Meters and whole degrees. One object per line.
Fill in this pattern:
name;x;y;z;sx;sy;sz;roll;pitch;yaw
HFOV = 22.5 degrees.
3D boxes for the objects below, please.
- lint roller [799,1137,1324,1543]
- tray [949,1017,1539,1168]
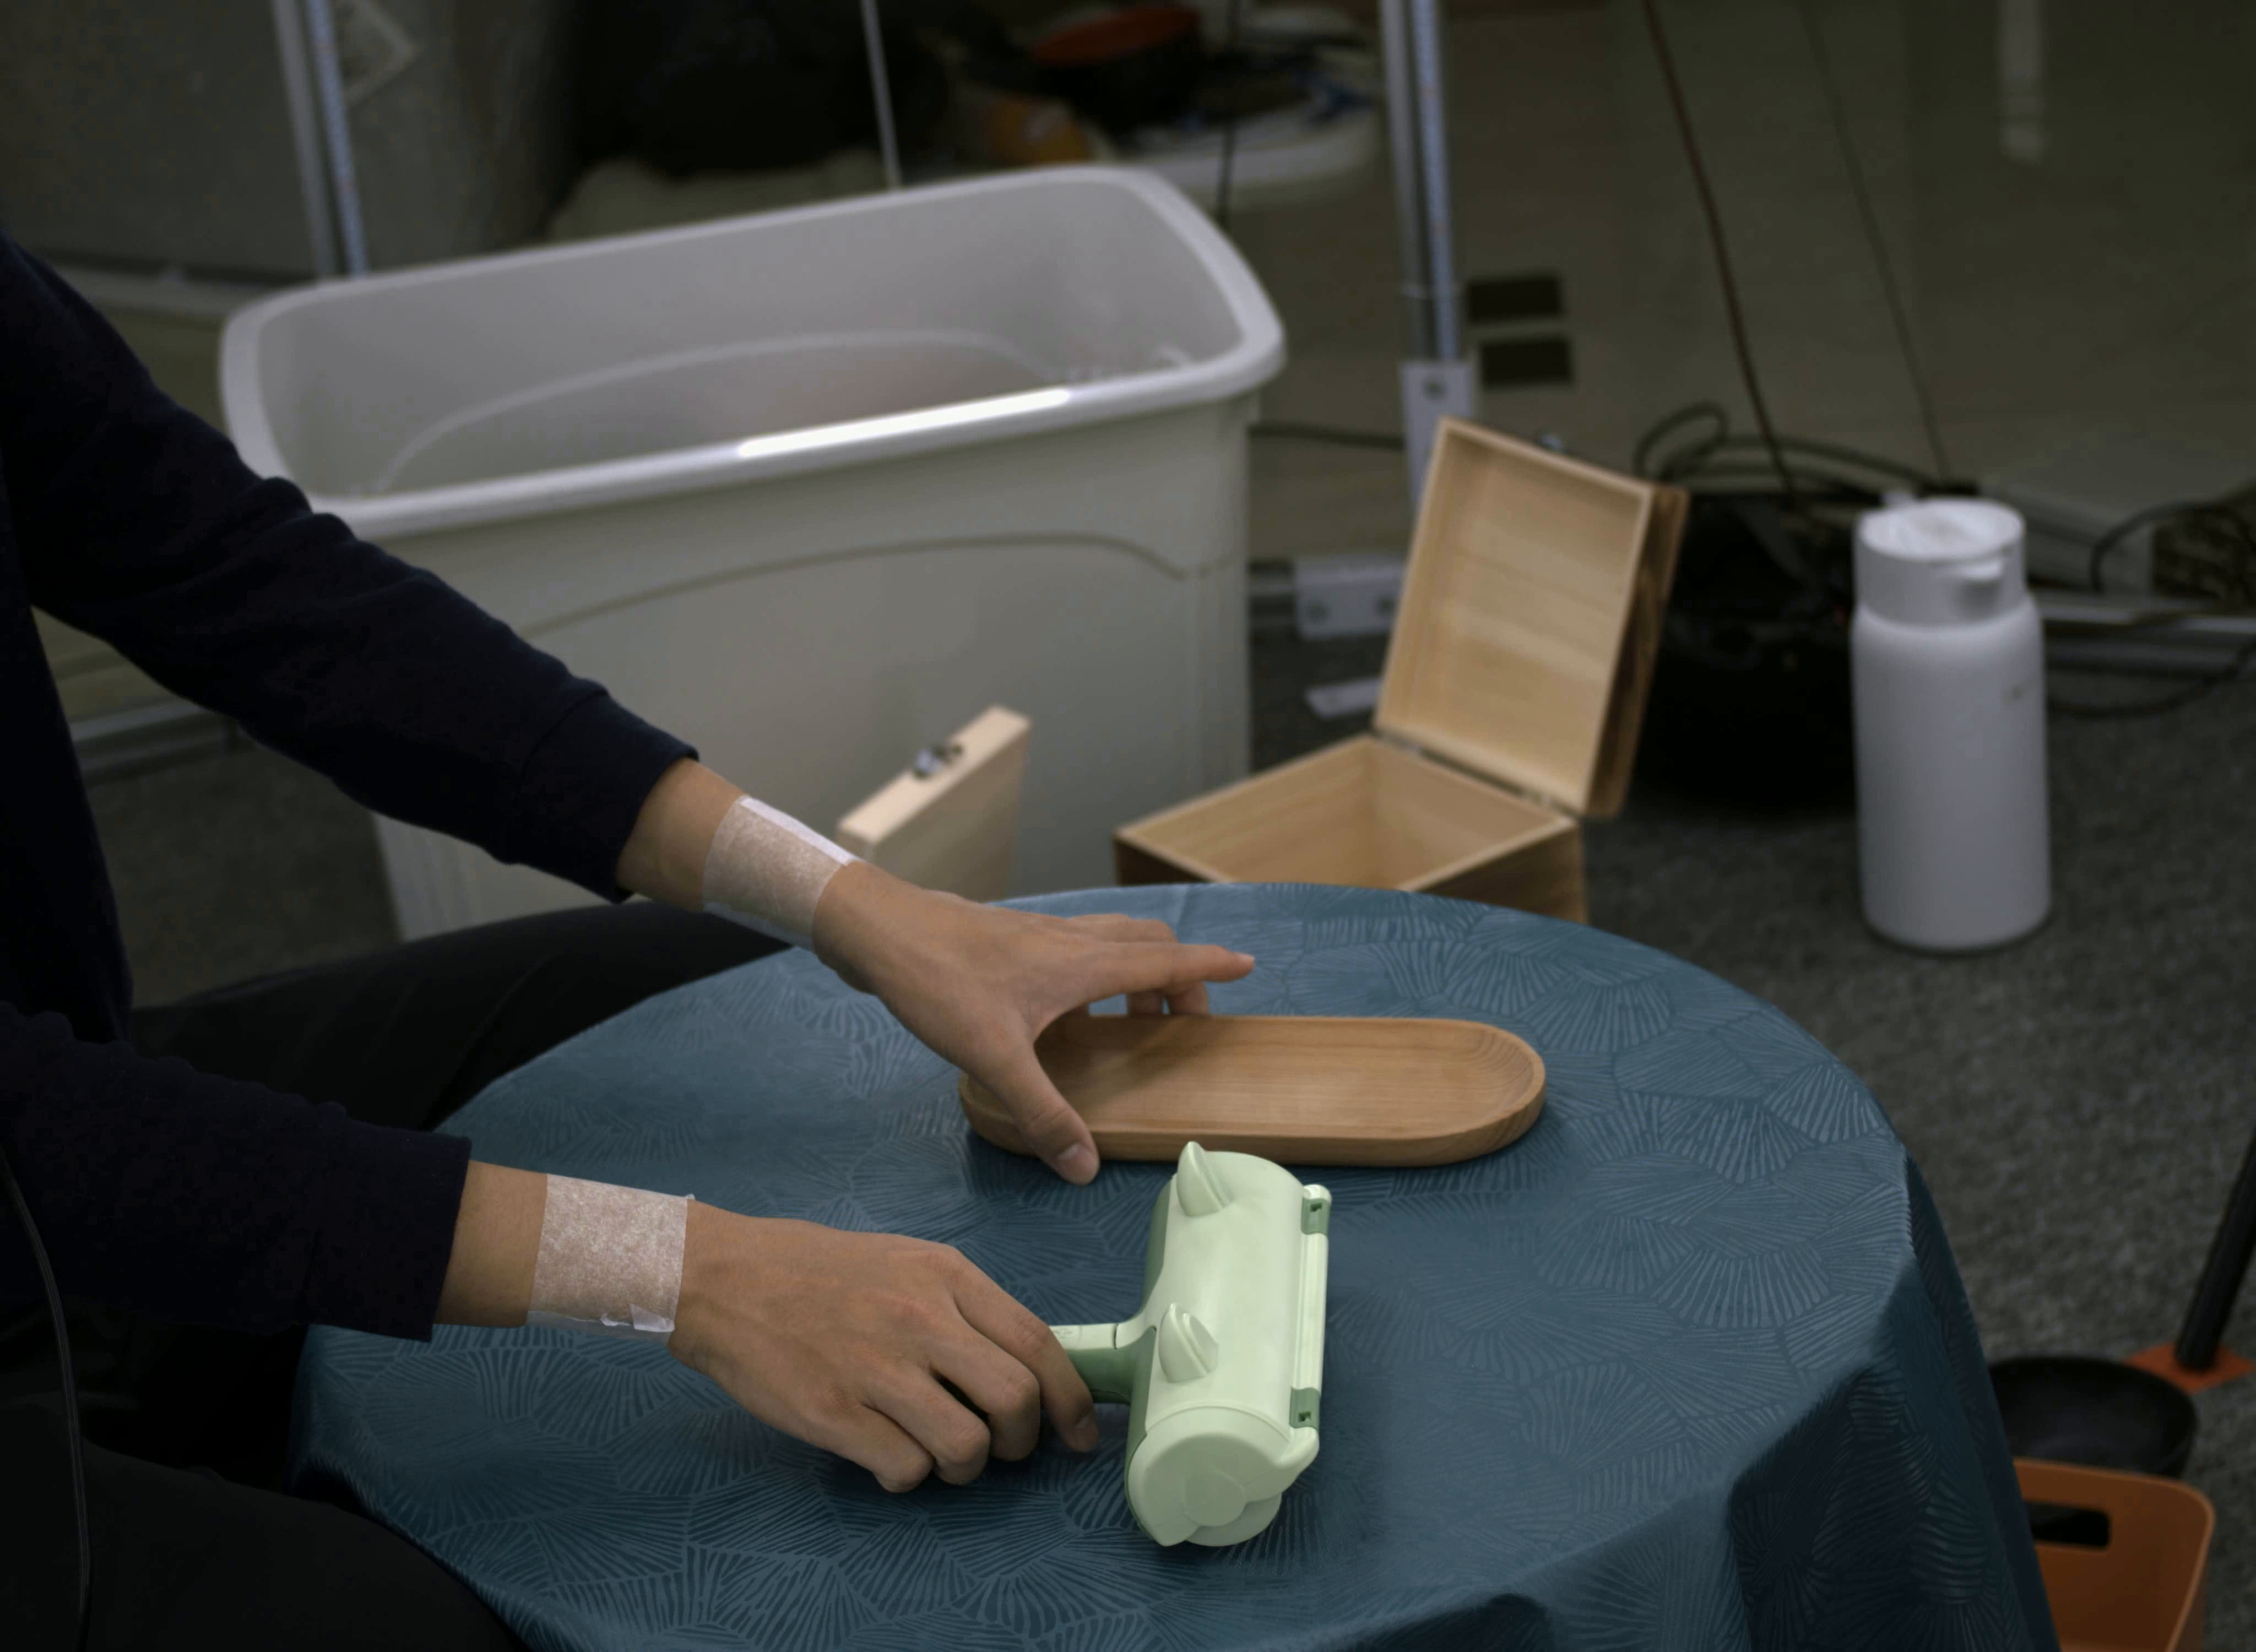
lint roller;-0.025;0.172;1.978;0.183;0.083;0.196;1;25;2
tray;0.044;0.103;2.193;0.231;0.020;0.100;-1;24;14
